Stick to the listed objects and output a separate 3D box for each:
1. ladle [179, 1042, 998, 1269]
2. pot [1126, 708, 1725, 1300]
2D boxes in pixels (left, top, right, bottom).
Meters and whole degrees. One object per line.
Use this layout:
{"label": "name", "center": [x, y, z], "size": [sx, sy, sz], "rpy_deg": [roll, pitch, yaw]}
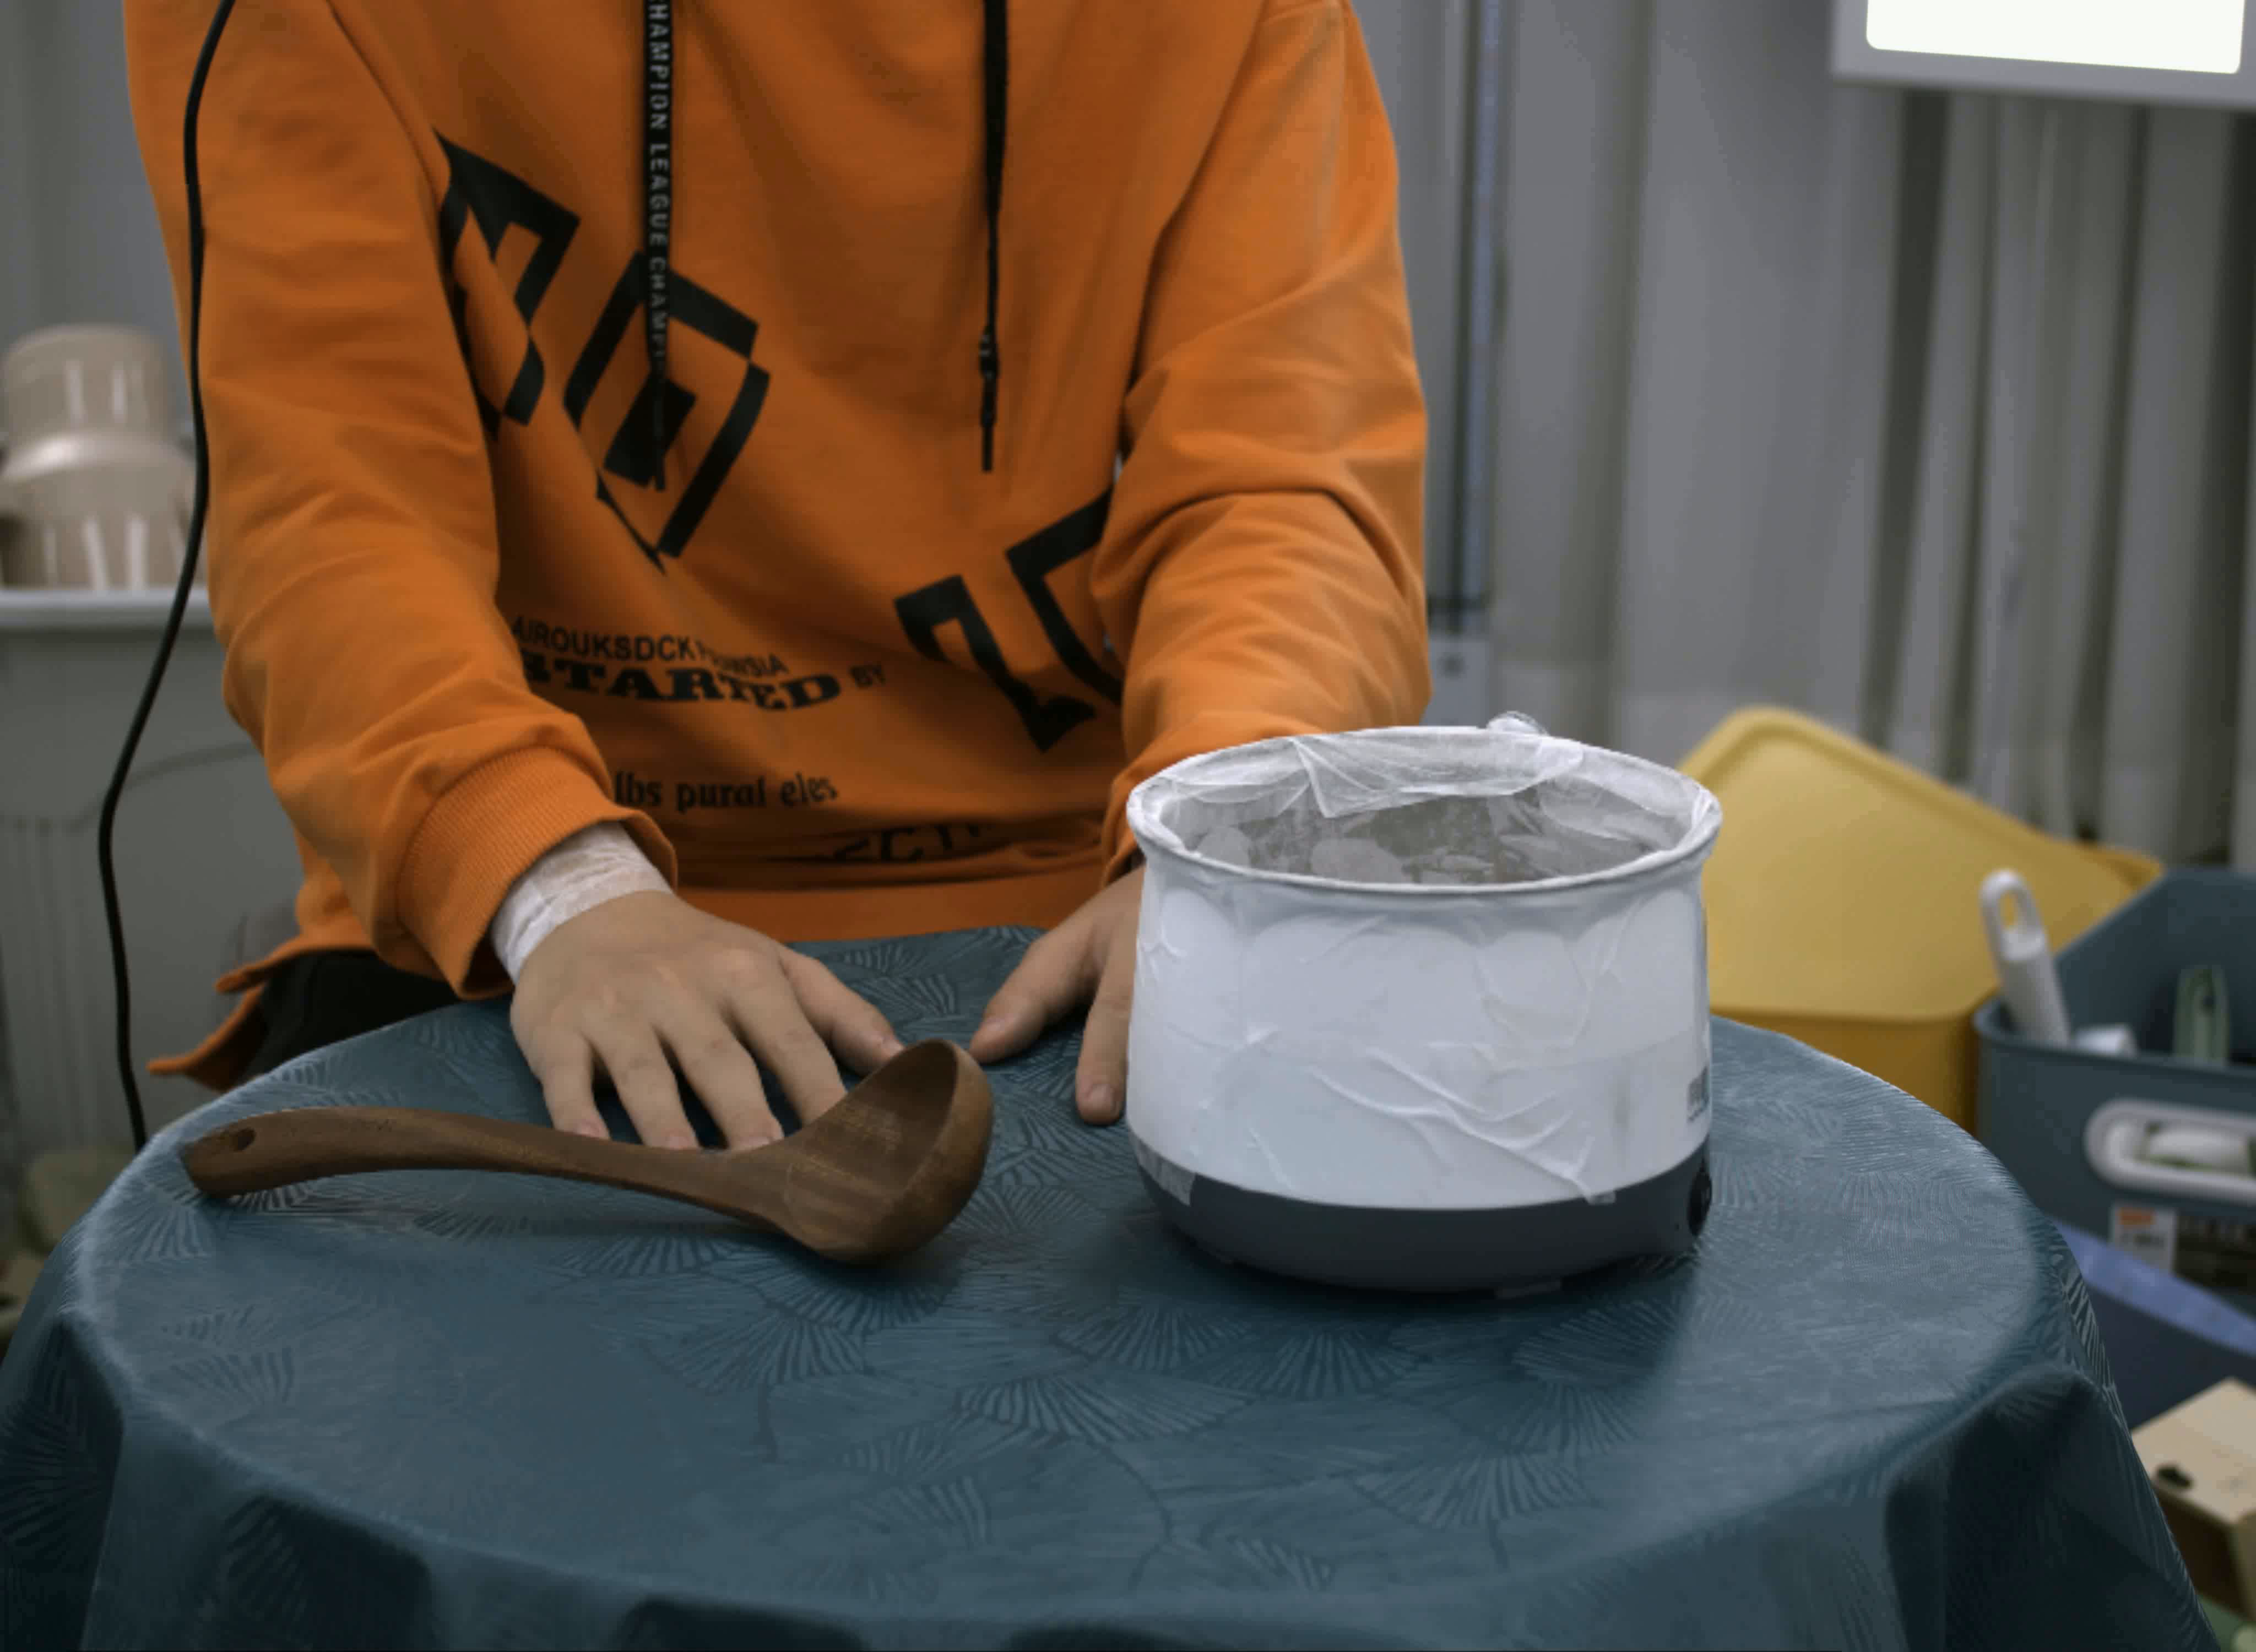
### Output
{"label": "ladle", "center": [-0.165, 0.092, 1.576], "size": [0.258, 0.066, 0.076], "rpy_deg": [4, 41, 10]}
{"label": "pot", "center": [0.096, 0.047, 1.602], "size": [0.177, 0.138, 0.234], "rpy_deg": [6, 17, 17]}
